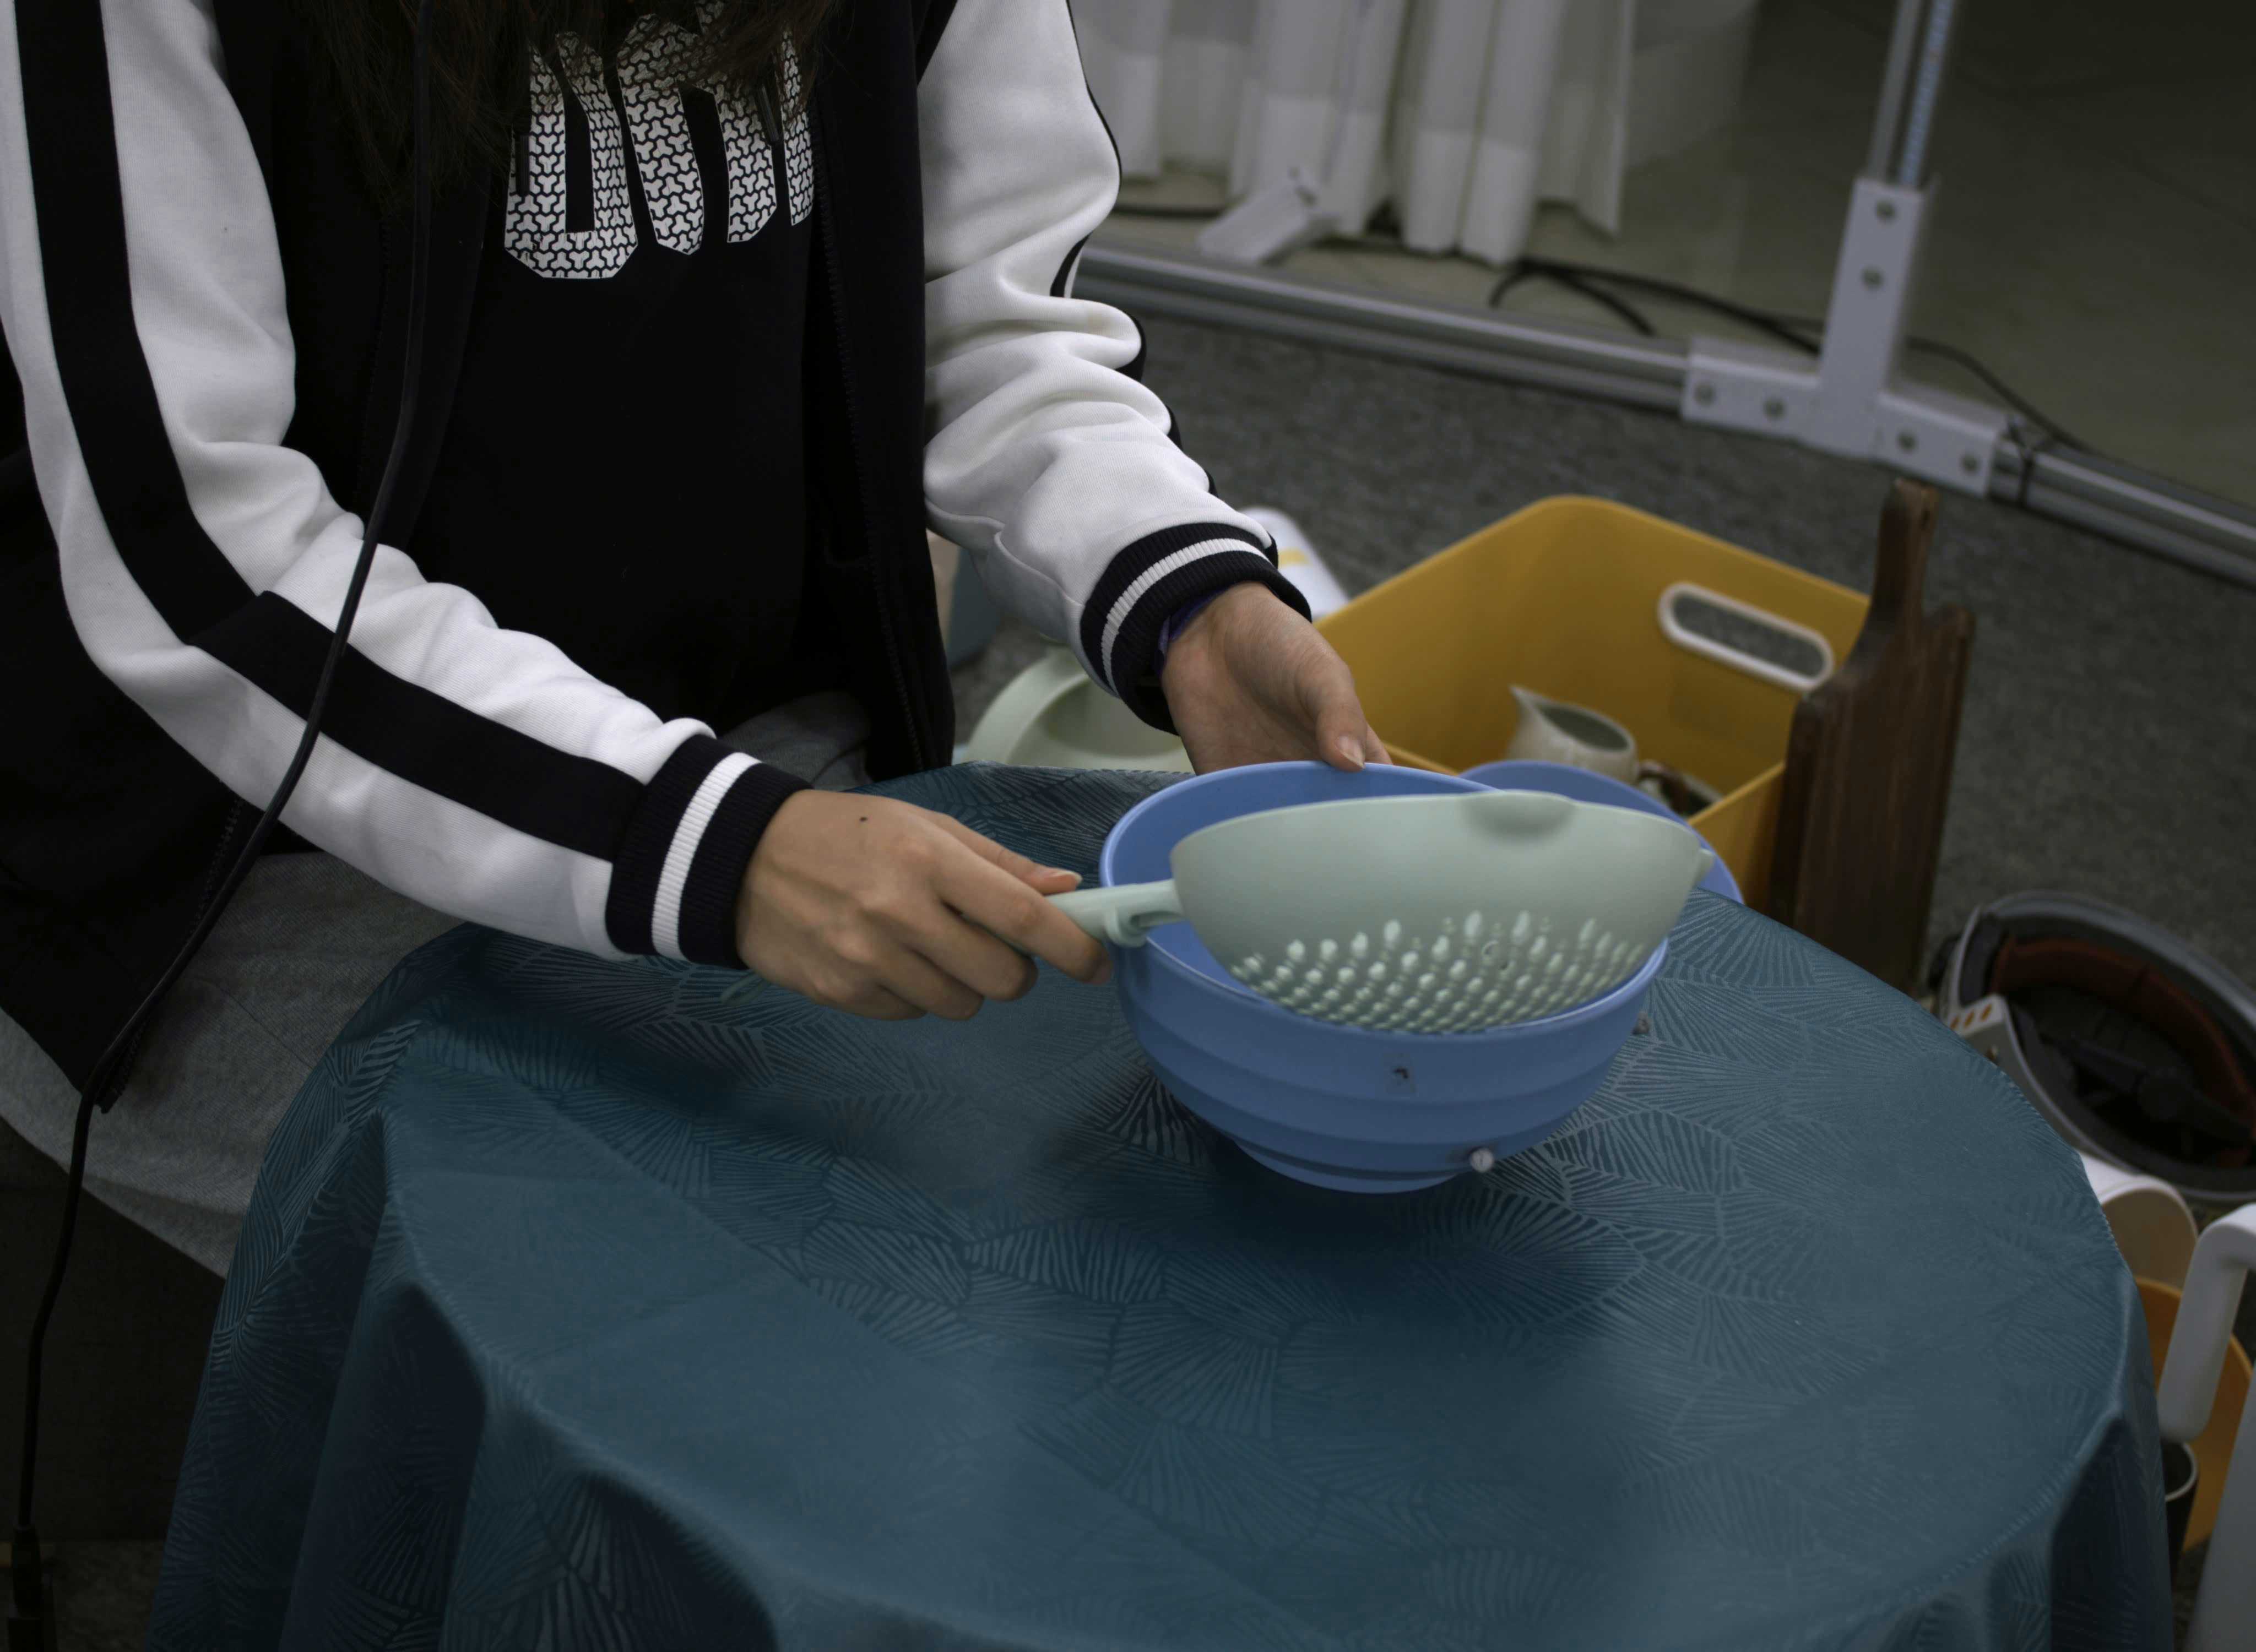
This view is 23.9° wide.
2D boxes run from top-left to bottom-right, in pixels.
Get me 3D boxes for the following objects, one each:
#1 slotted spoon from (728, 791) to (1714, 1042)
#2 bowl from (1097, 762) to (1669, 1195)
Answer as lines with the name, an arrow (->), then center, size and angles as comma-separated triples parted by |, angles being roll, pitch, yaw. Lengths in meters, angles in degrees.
slotted spoon -> 0.016, 0.035, 1.748 | 0.360, 0.075, 0.168 | -1, -10, 33
bowl -> 0.083, 0.063, 1.835 | 0.196, 0.095, 0.198 | 5, 27, -3
